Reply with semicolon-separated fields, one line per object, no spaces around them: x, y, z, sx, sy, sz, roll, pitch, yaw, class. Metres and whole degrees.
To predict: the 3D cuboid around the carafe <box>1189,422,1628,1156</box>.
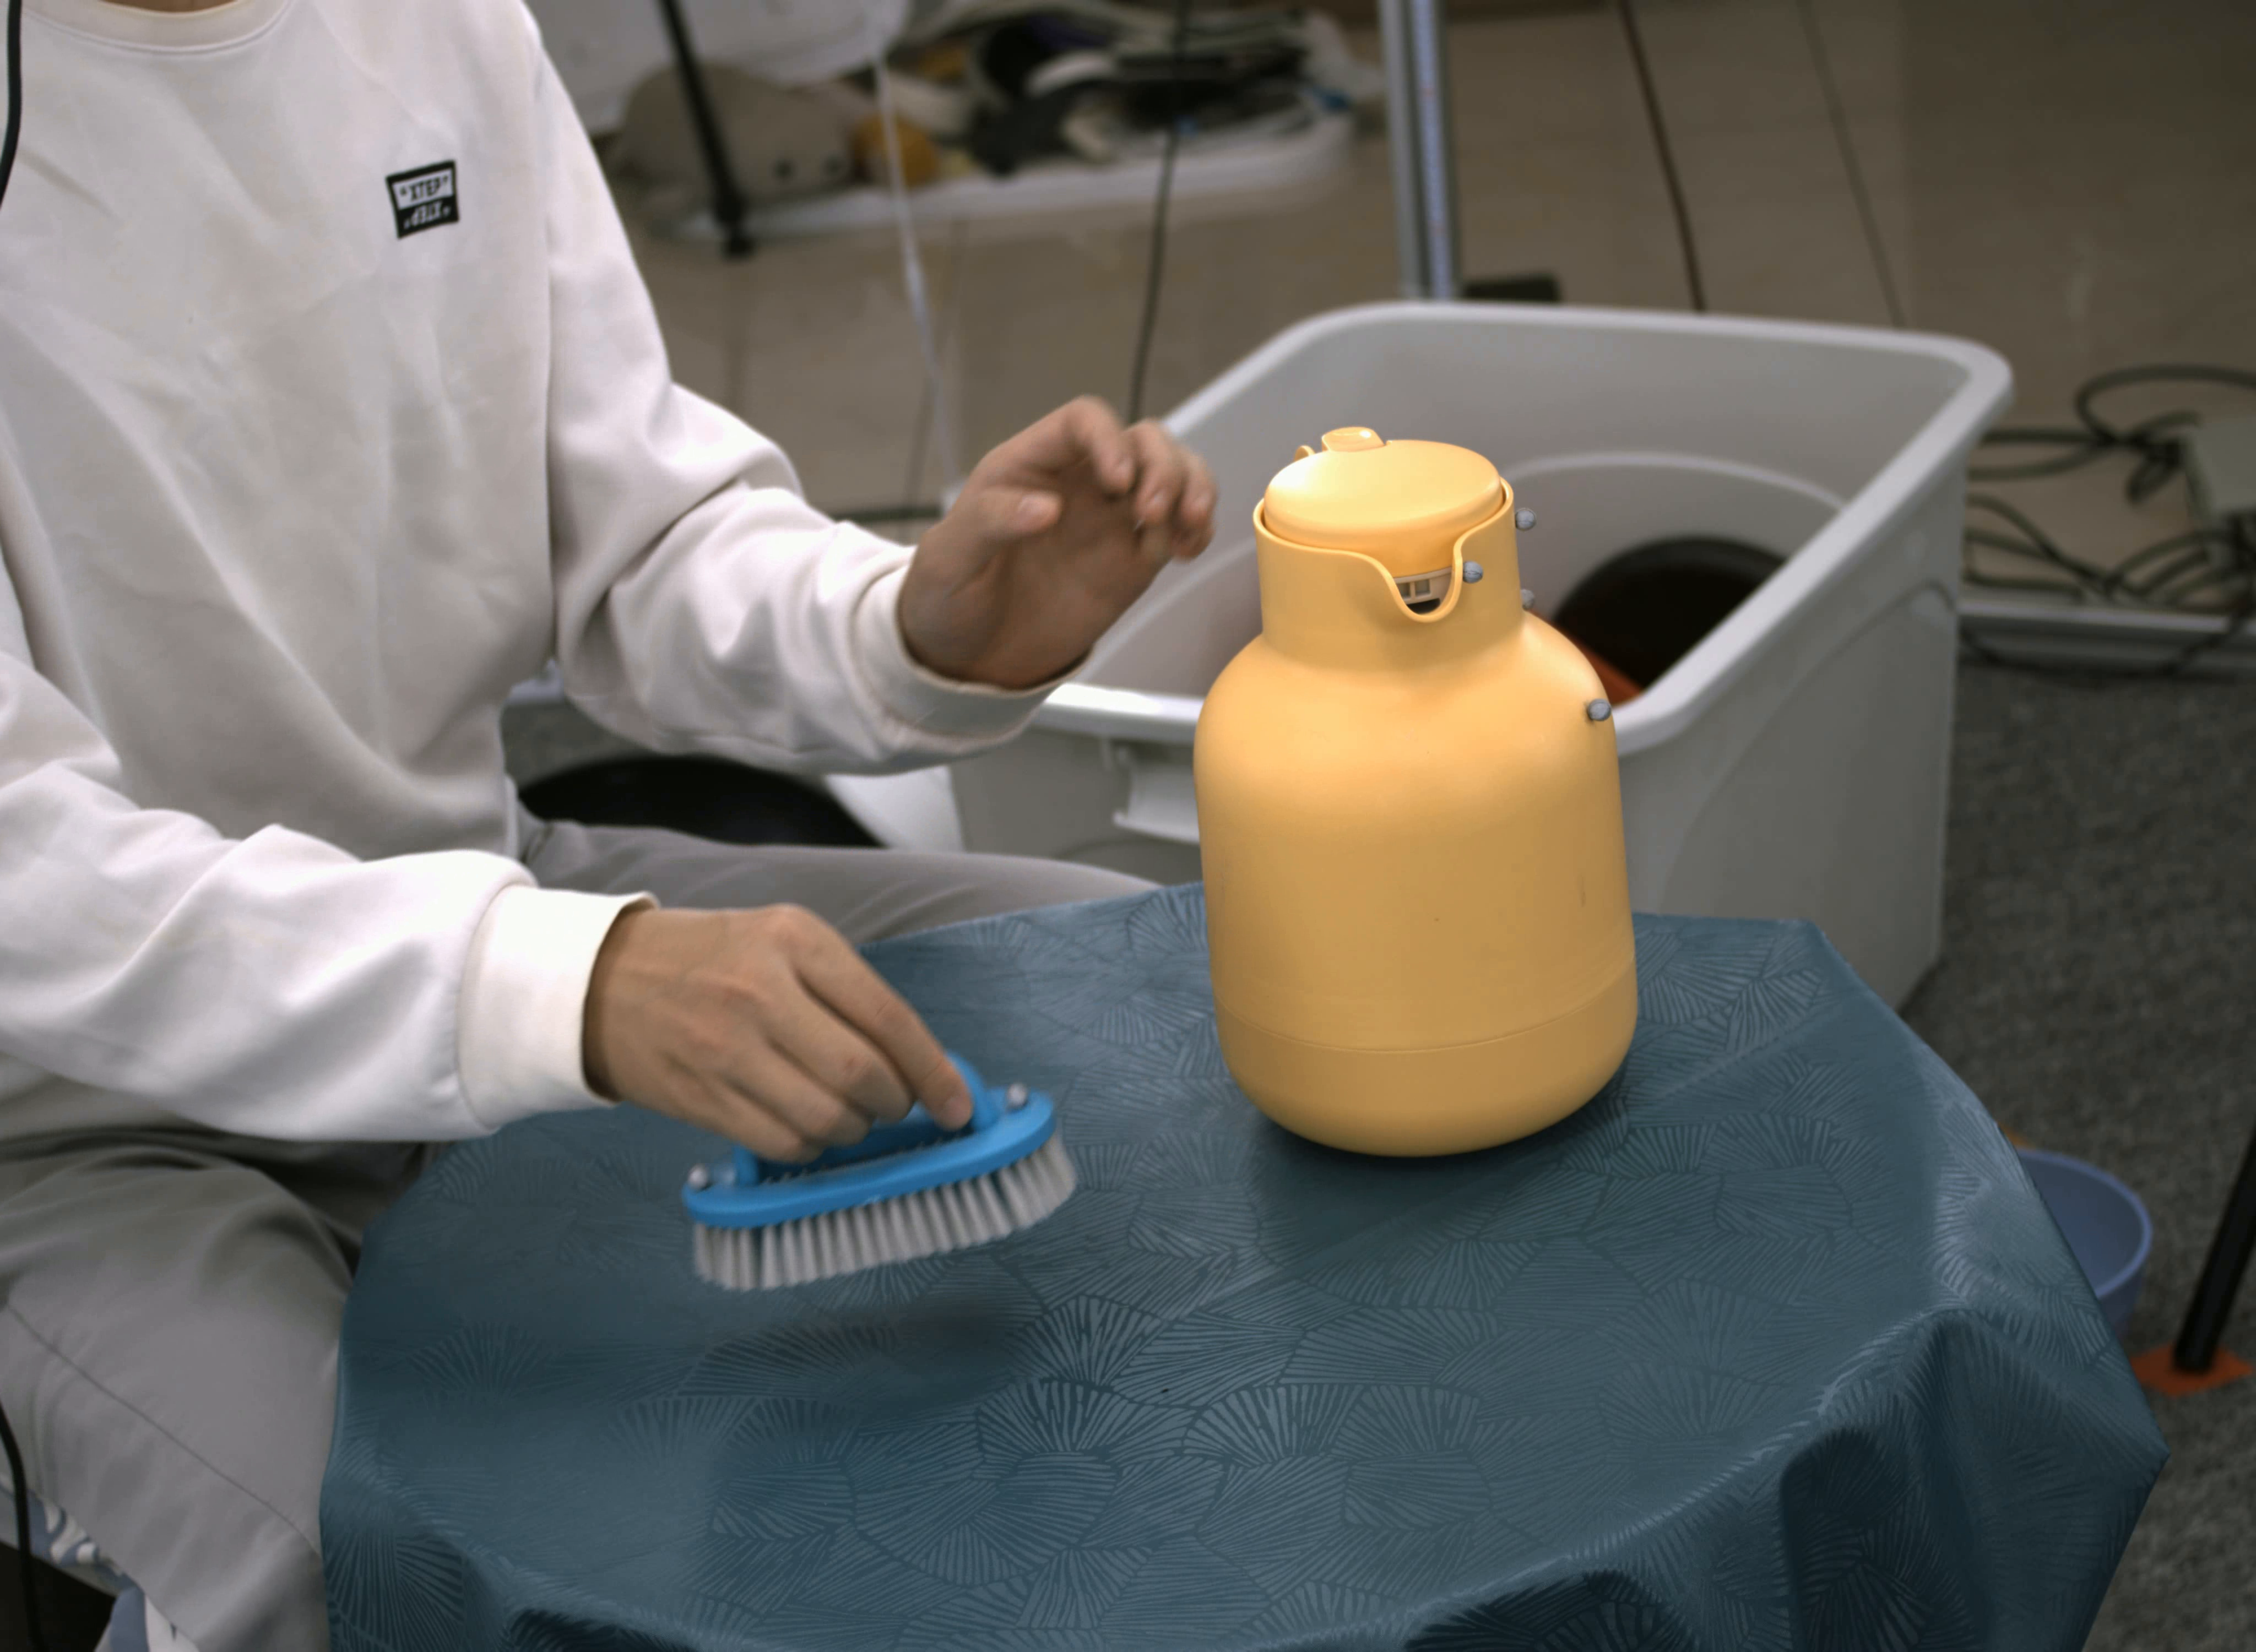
0.102;-0.023;2.157;0.163;0.265;0.199;-7;26;-6;carafe

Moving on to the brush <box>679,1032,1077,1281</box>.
-0.093;0.111;2.033;0.141;0.064;0.083;-14;22;3;brush
